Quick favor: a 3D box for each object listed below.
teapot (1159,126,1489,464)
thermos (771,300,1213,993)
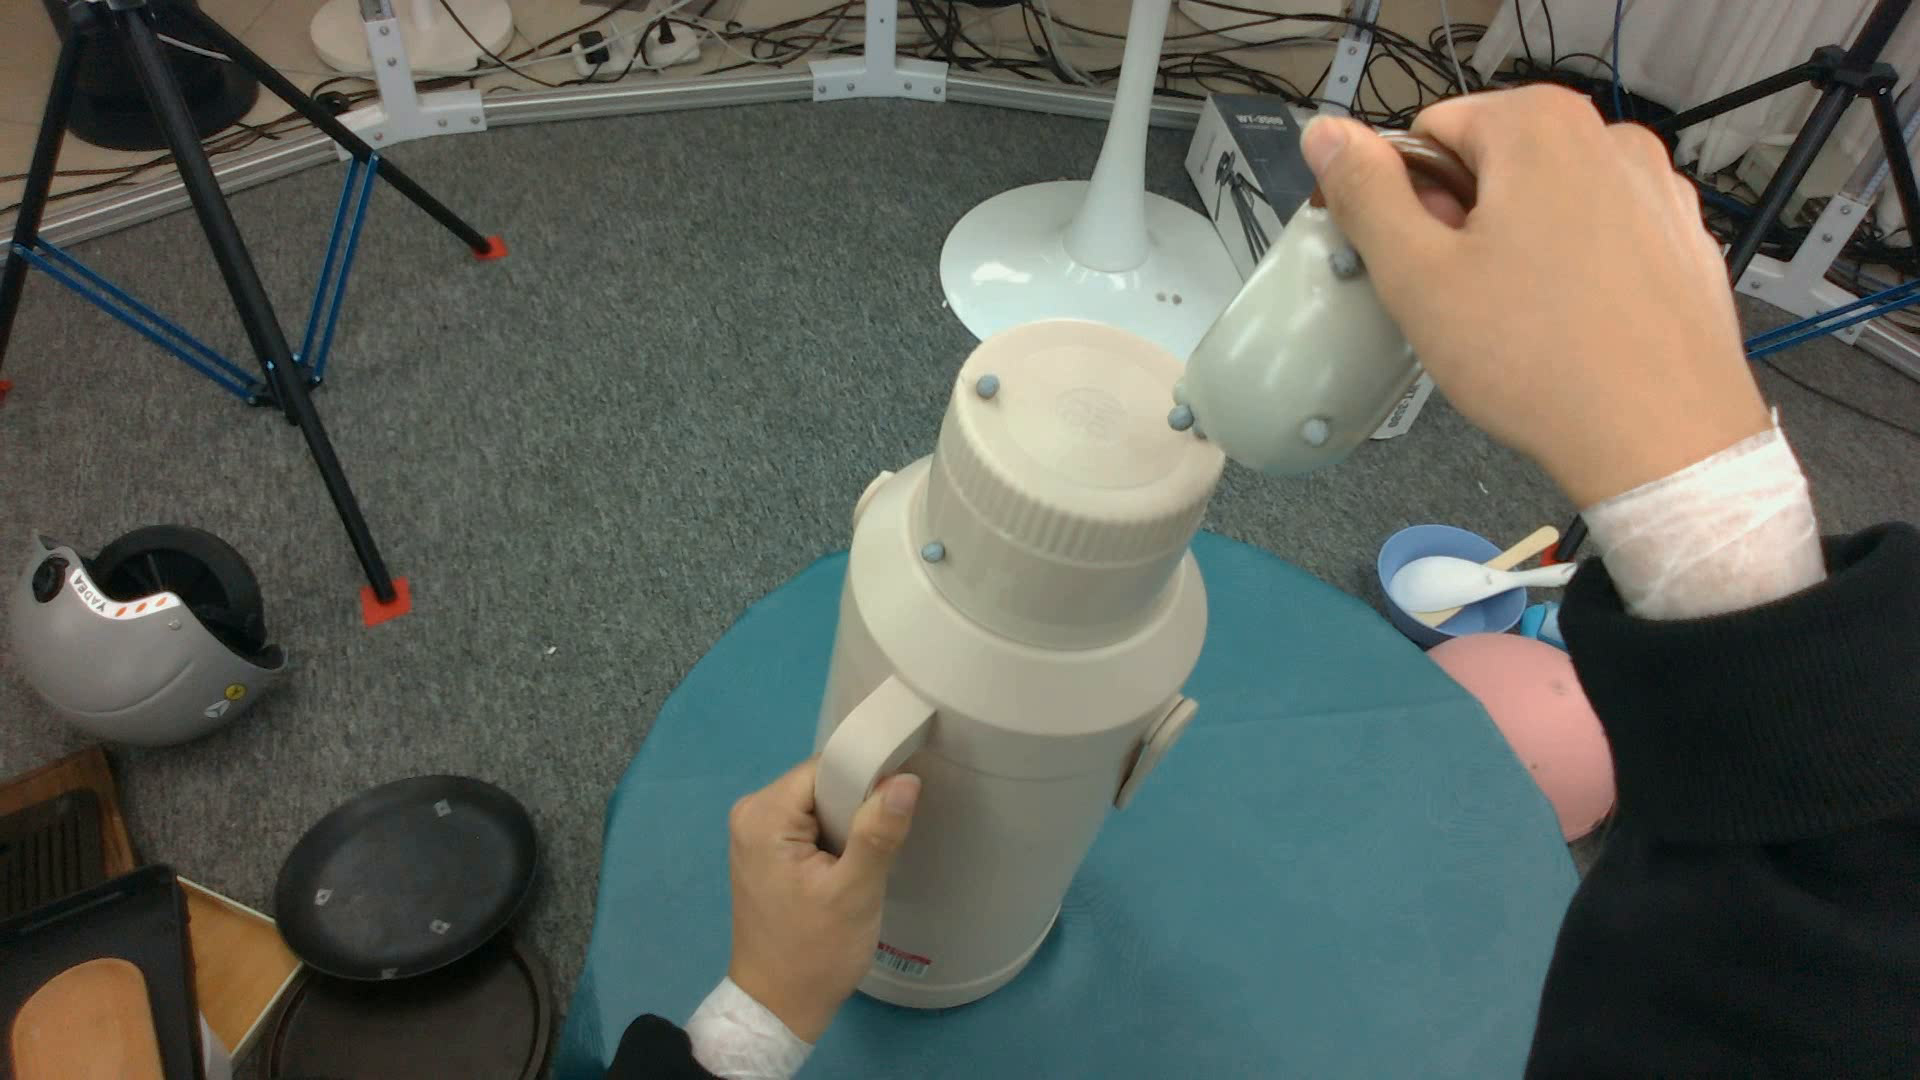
[{"bbox_3d":[0.112,-0.072,0.425,0.059,0.127,0.092,39,49,6],"label":"teapot"},{"bbox_3d":[-0.004,0.076,0.653,0.175,0.404,0.208,37,52,14],"label":"thermos"}]
